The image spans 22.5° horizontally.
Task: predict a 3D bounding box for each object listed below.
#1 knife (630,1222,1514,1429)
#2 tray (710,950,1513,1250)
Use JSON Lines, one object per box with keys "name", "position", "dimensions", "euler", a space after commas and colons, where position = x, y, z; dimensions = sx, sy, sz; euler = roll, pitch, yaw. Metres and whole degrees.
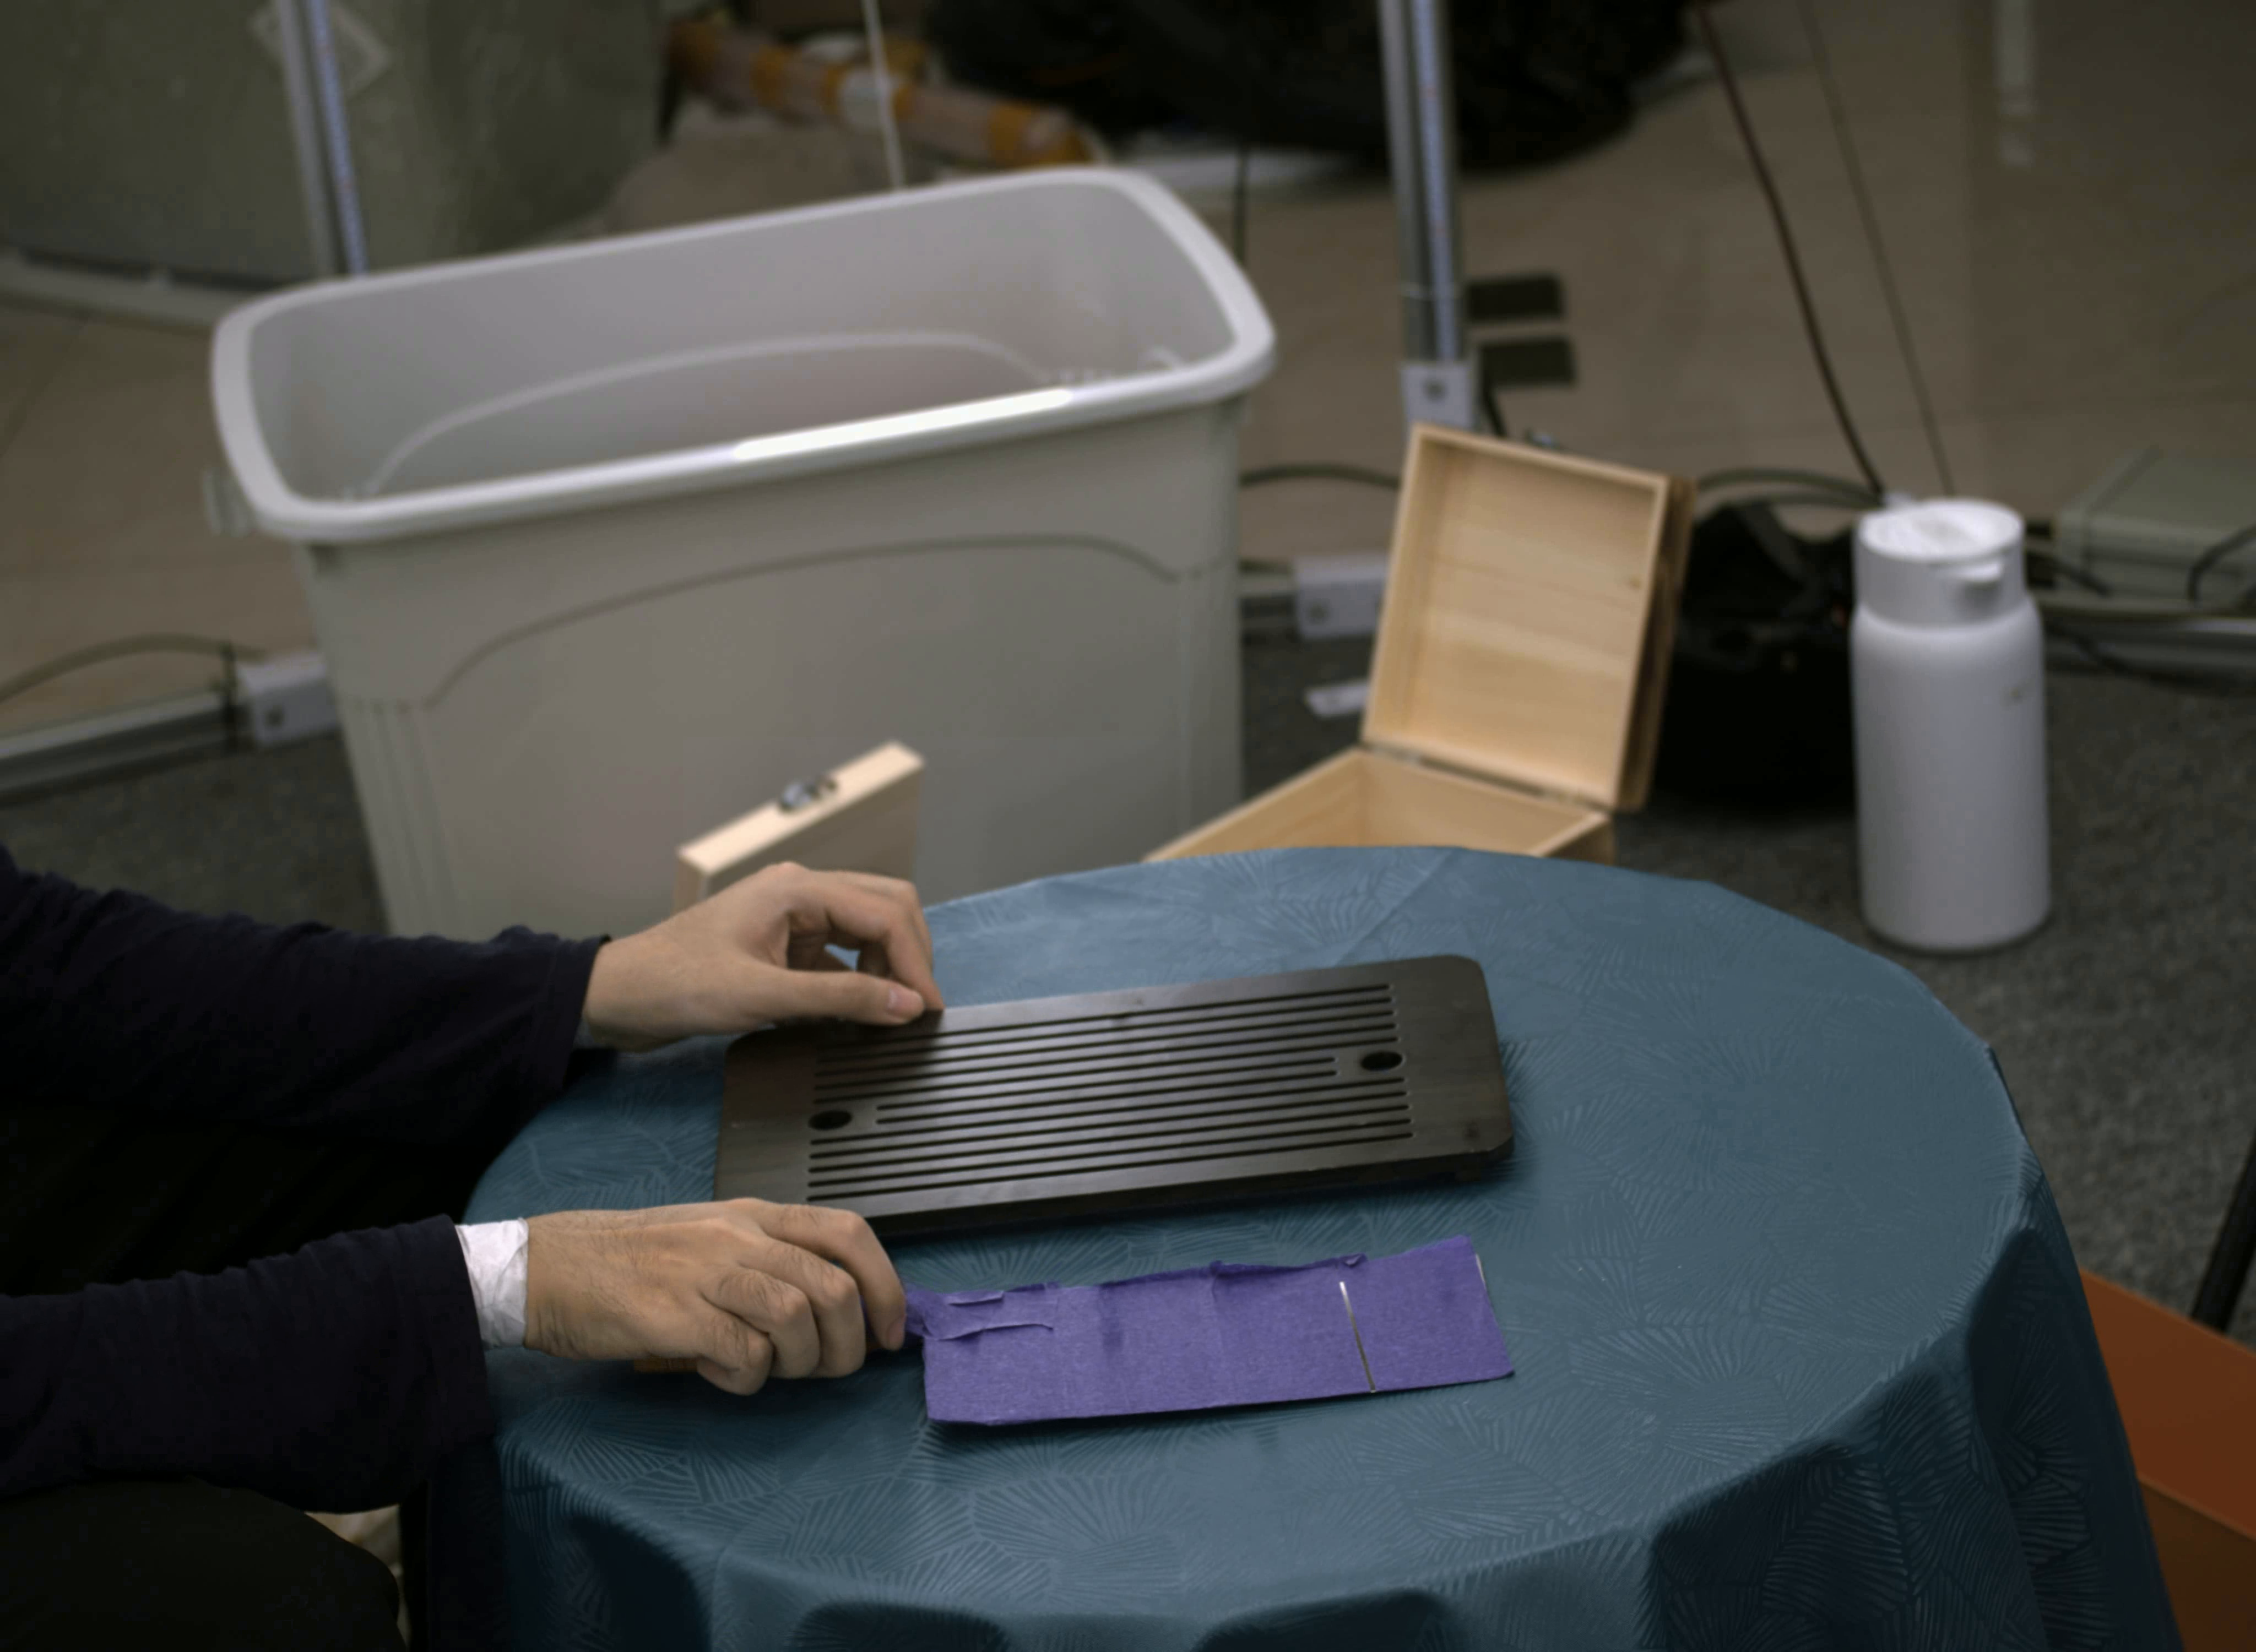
{"name": "knife", "position": [-0.022, 0.183, 2.031], "dimensions": [0.315, 0.033, 0.102], "euler": [-7, 25, -2]}
{"name": "tray", "position": [-0.008, 0.107, 2.202], "dimensions": [0.305, 0.019, 0.167], "euler": [-6, 25, 1]}
